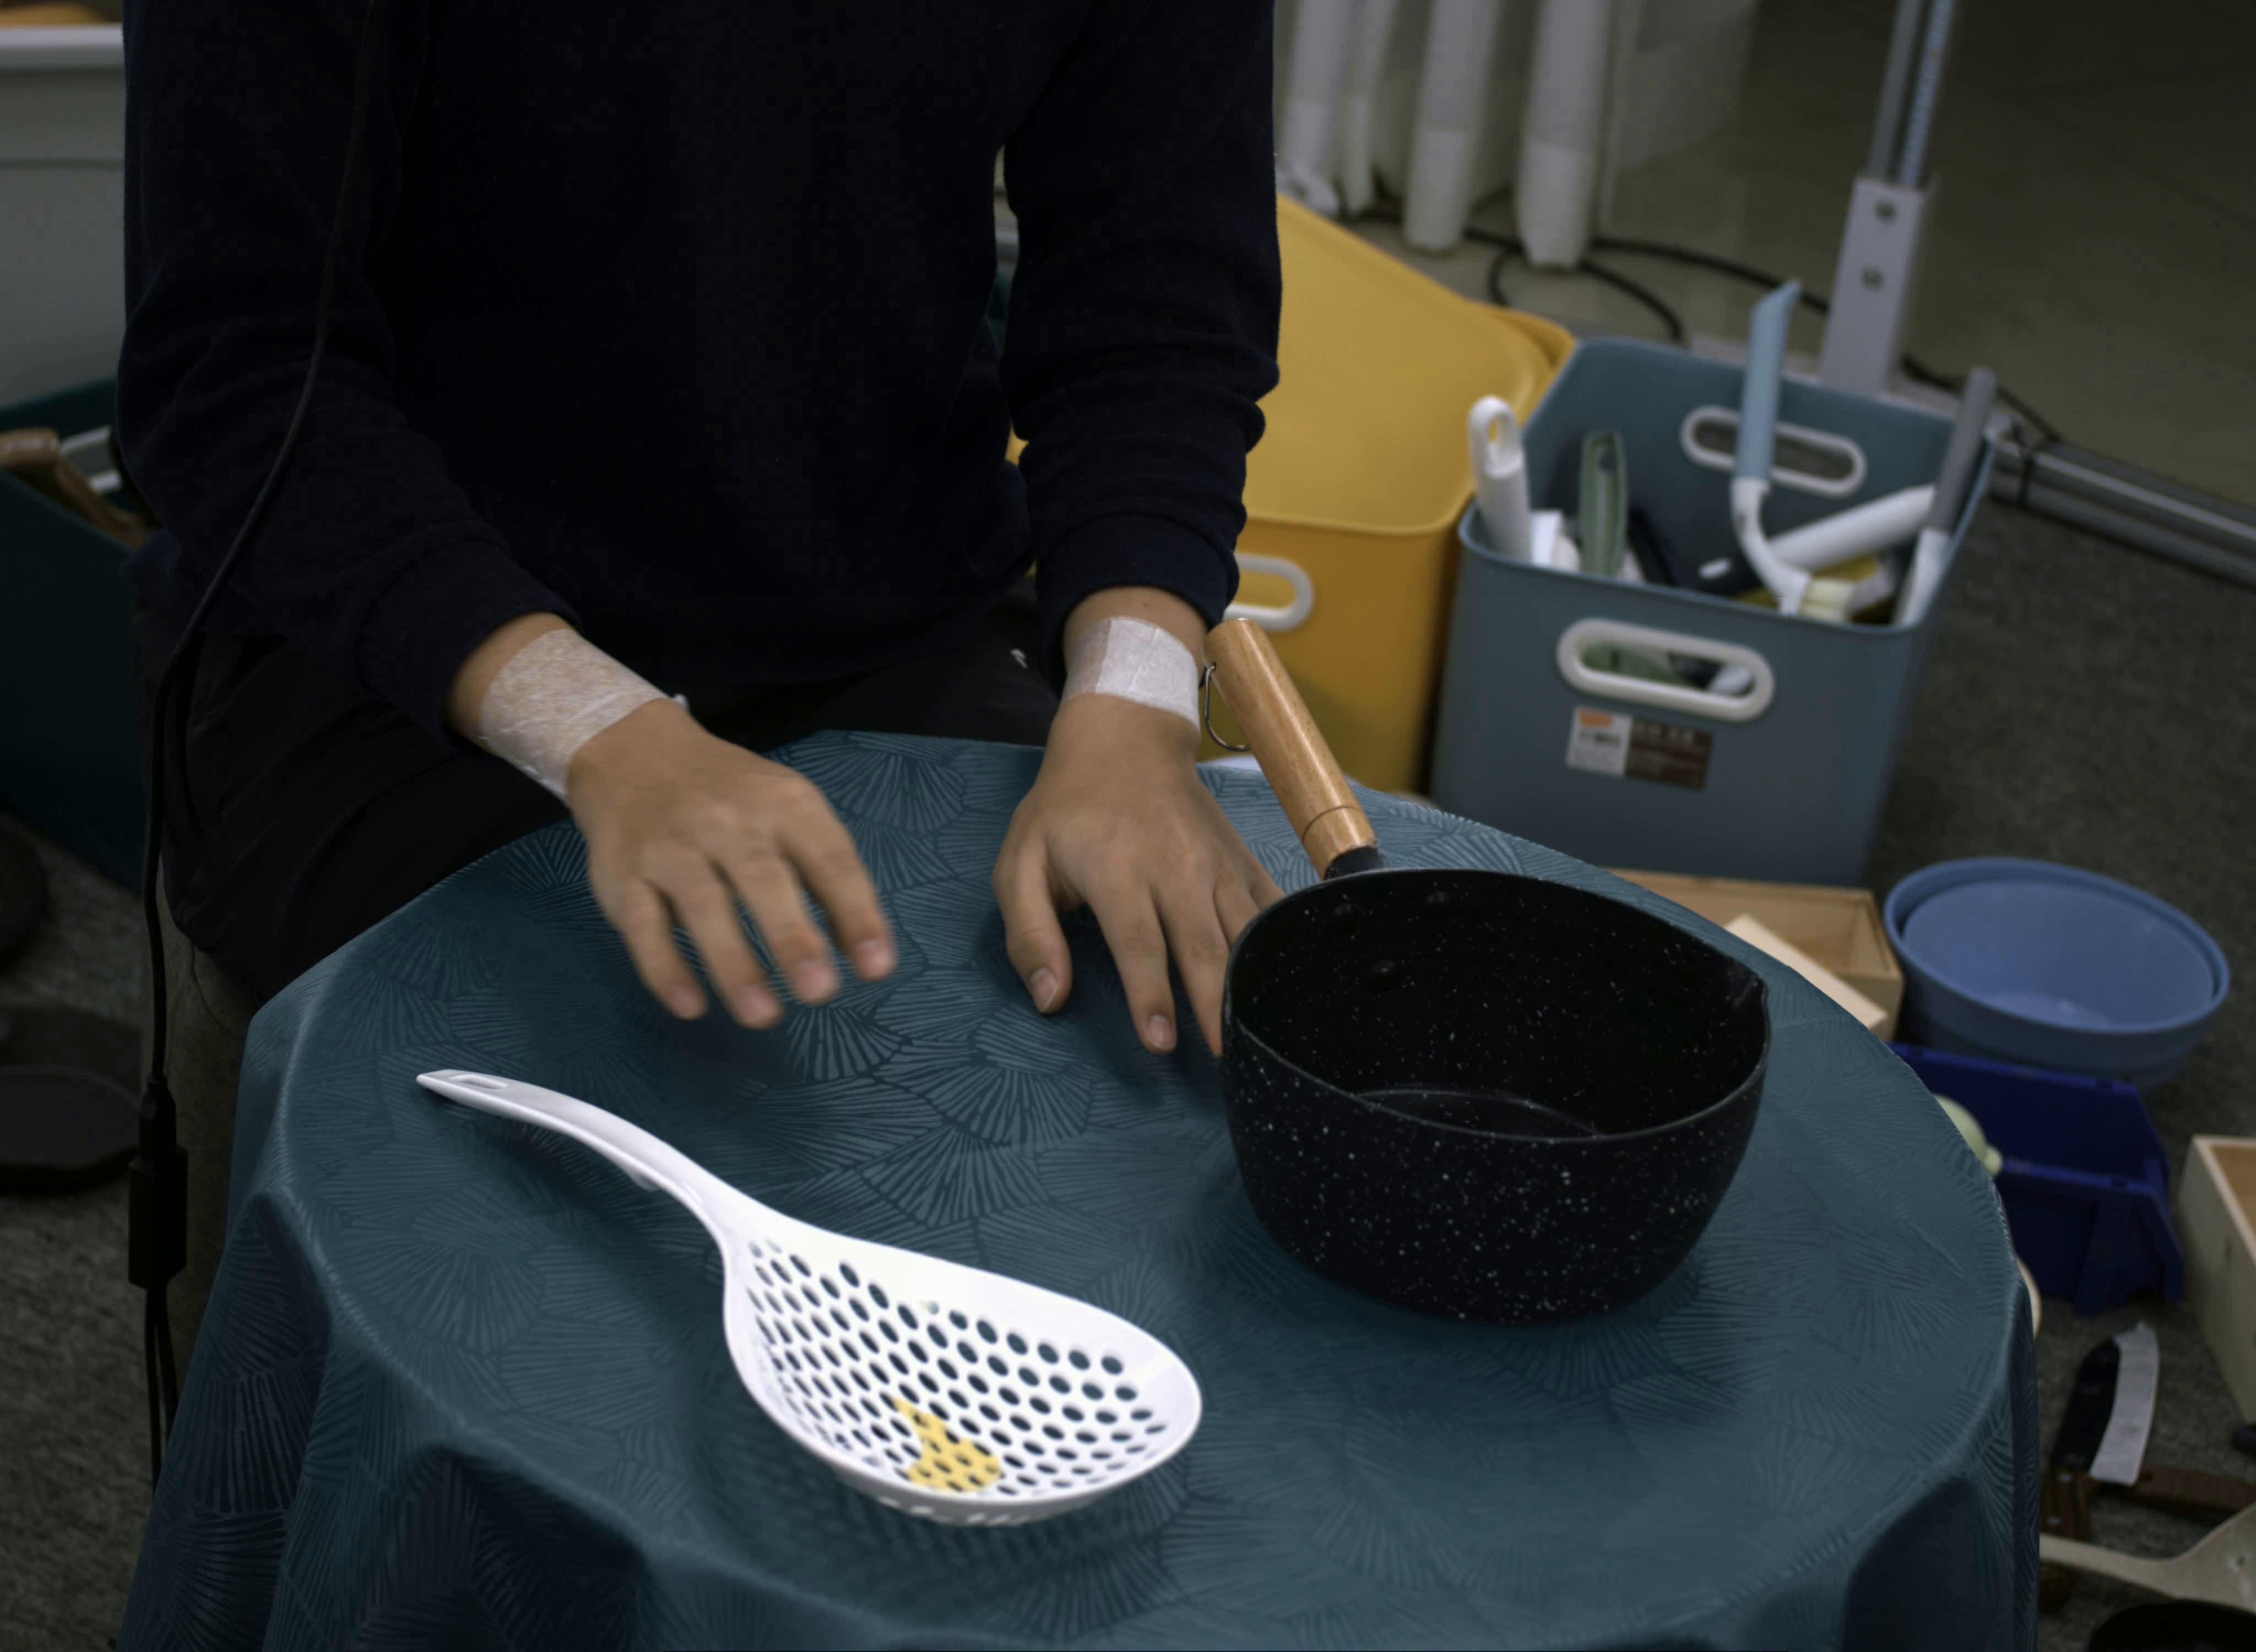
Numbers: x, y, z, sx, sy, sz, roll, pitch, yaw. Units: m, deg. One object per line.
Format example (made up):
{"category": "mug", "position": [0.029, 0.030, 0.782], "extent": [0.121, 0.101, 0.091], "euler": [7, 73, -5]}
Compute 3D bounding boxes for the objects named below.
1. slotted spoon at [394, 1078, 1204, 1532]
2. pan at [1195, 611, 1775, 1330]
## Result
{"category": "slotted spoon", "position": [-0.121, 0.140, 1.696], "extent": [0.136, 0.050, 0.351], "euler": [-16, 36, -40]}
{"category": "pan", "position": [0.091, 0.047, 1.854], "extent": [0.206, 0.108, 0.346], "euler": [-6, 31, -21]}
